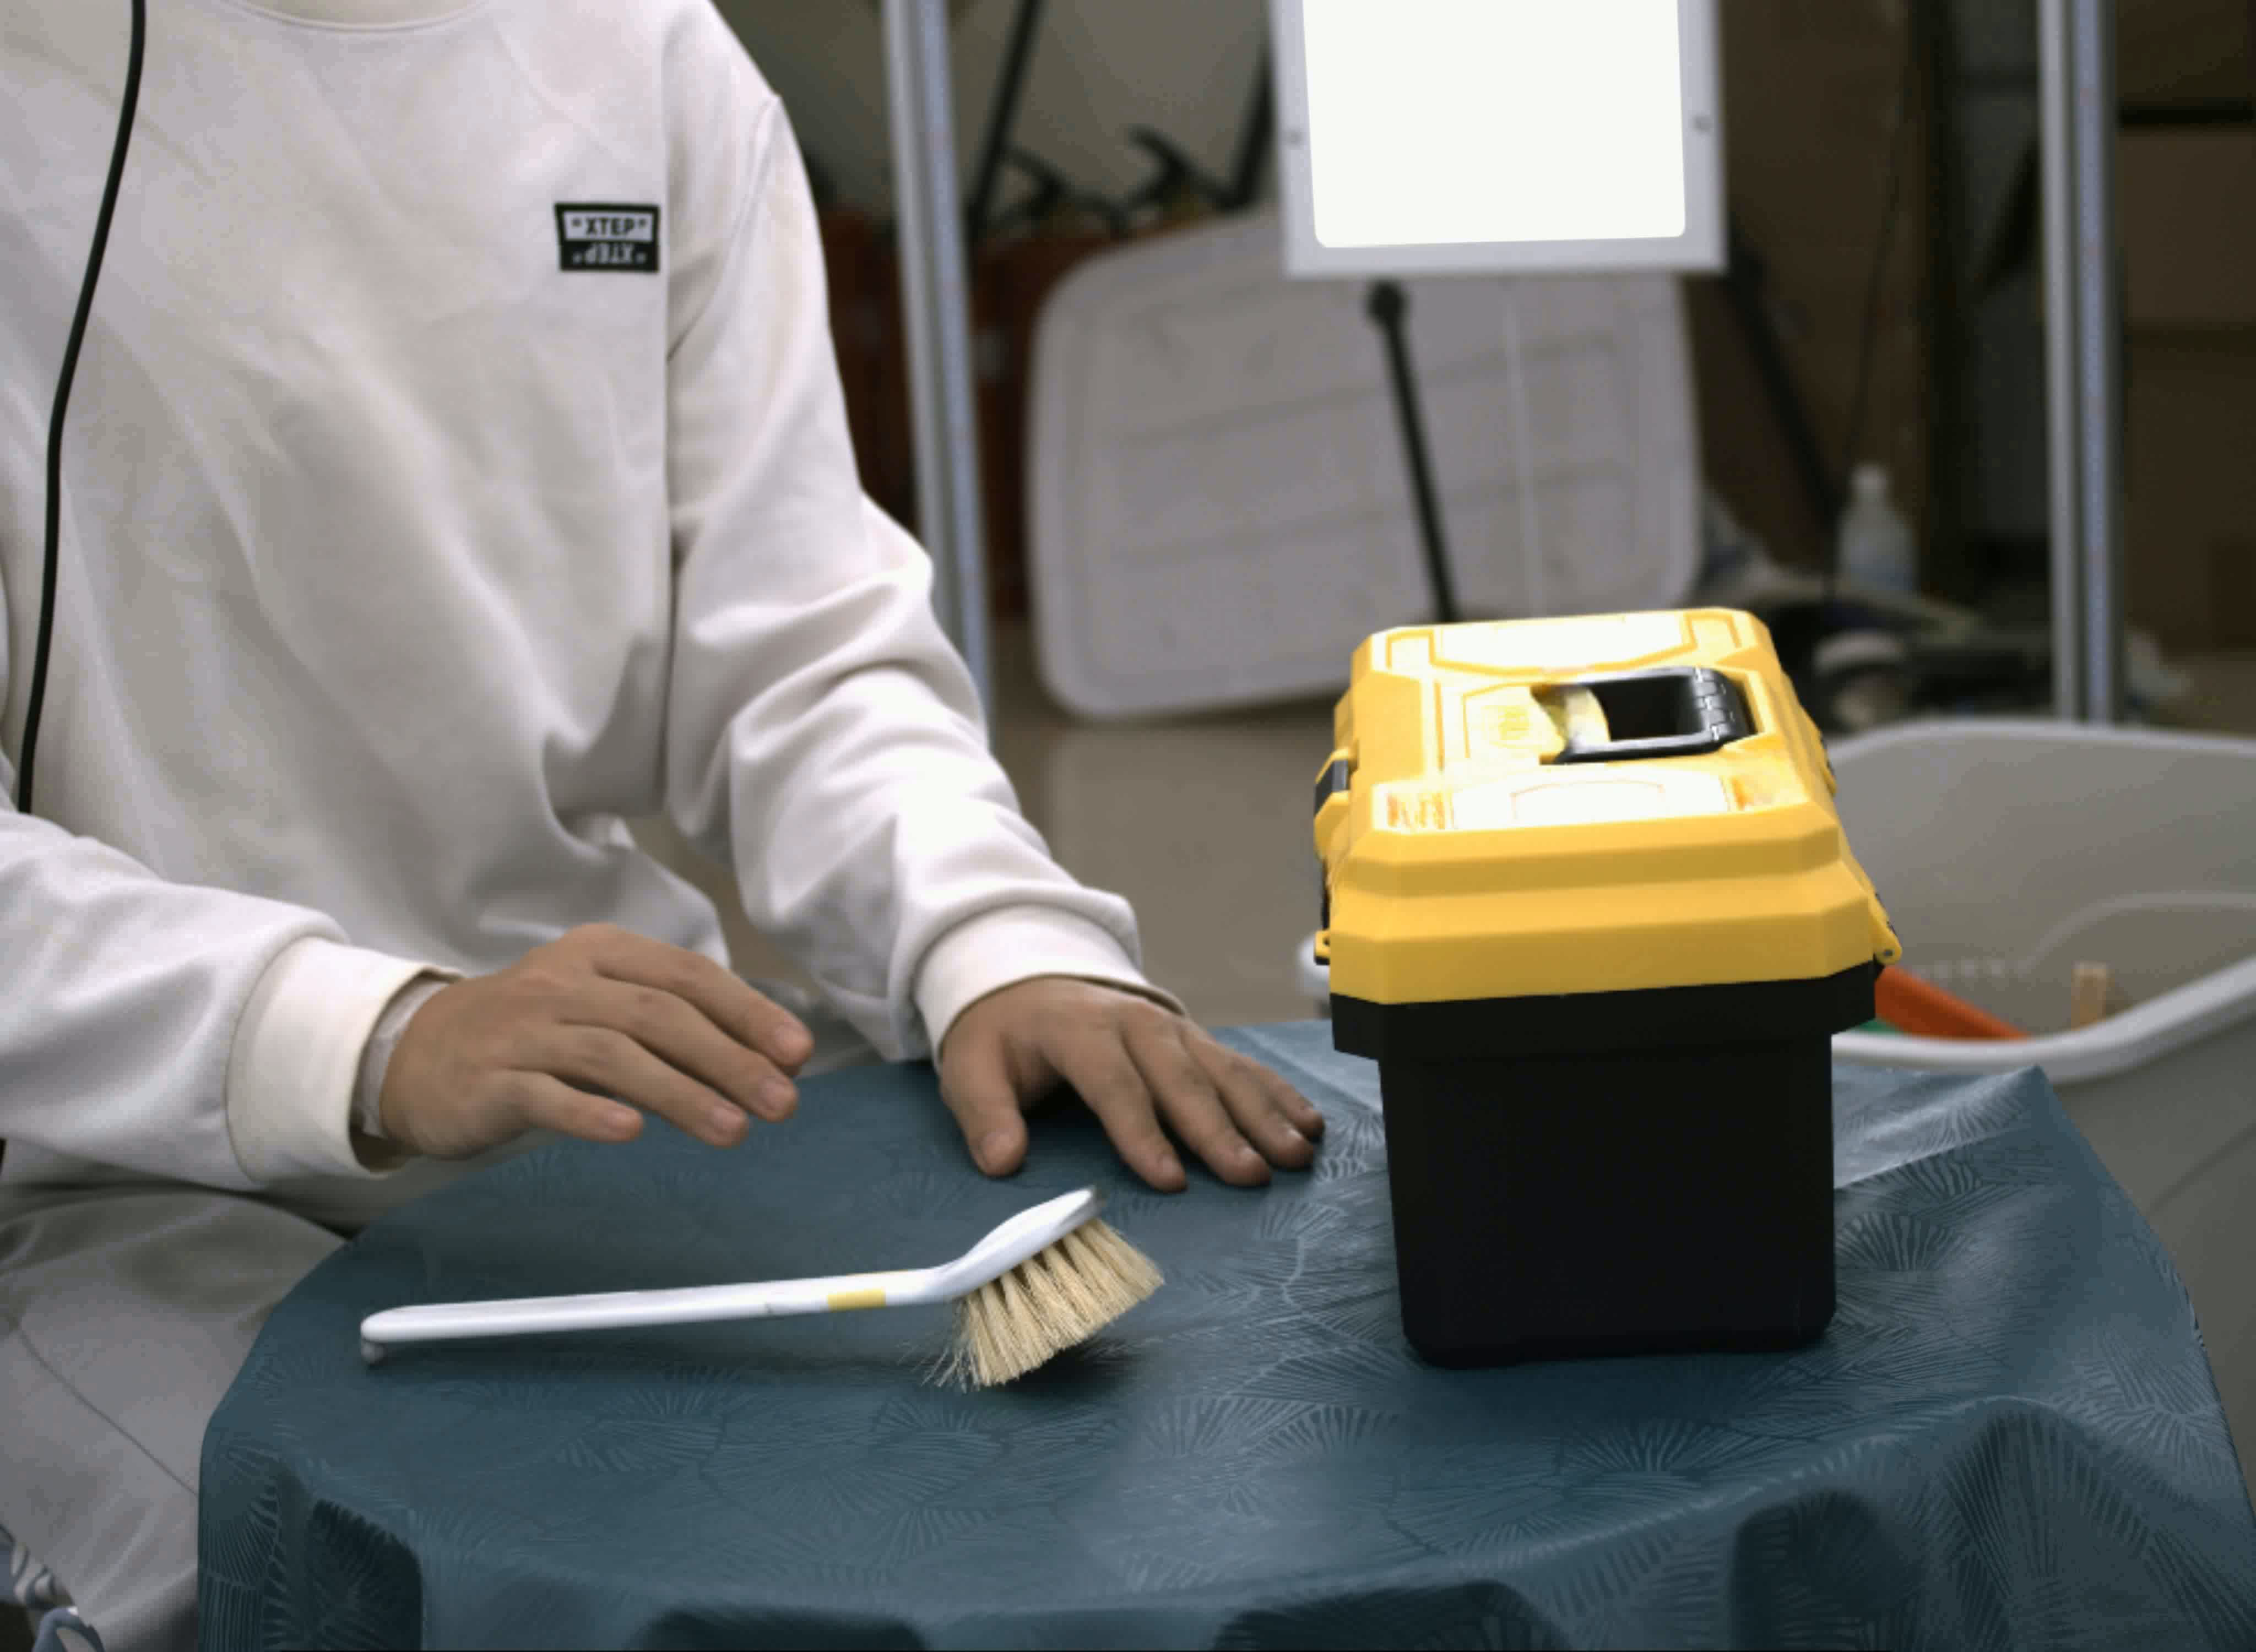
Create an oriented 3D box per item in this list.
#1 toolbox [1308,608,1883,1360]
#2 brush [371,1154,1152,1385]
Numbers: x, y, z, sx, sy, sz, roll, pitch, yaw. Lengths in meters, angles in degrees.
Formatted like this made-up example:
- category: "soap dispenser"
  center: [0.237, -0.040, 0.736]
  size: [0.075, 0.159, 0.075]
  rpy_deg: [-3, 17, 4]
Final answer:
- category: "toolbox"
  center: [0.151, 0.044, 1.813]
  size: [0.181, 0.173, 0.349]
  rpy_deg: [-3, 13, 4]
- category: "brush"
  center: [-0.117, 0.165, 1.759]
  size: [0.270, 0.056, 0.067]
  rpy_deg: [-17, -12, 18]
